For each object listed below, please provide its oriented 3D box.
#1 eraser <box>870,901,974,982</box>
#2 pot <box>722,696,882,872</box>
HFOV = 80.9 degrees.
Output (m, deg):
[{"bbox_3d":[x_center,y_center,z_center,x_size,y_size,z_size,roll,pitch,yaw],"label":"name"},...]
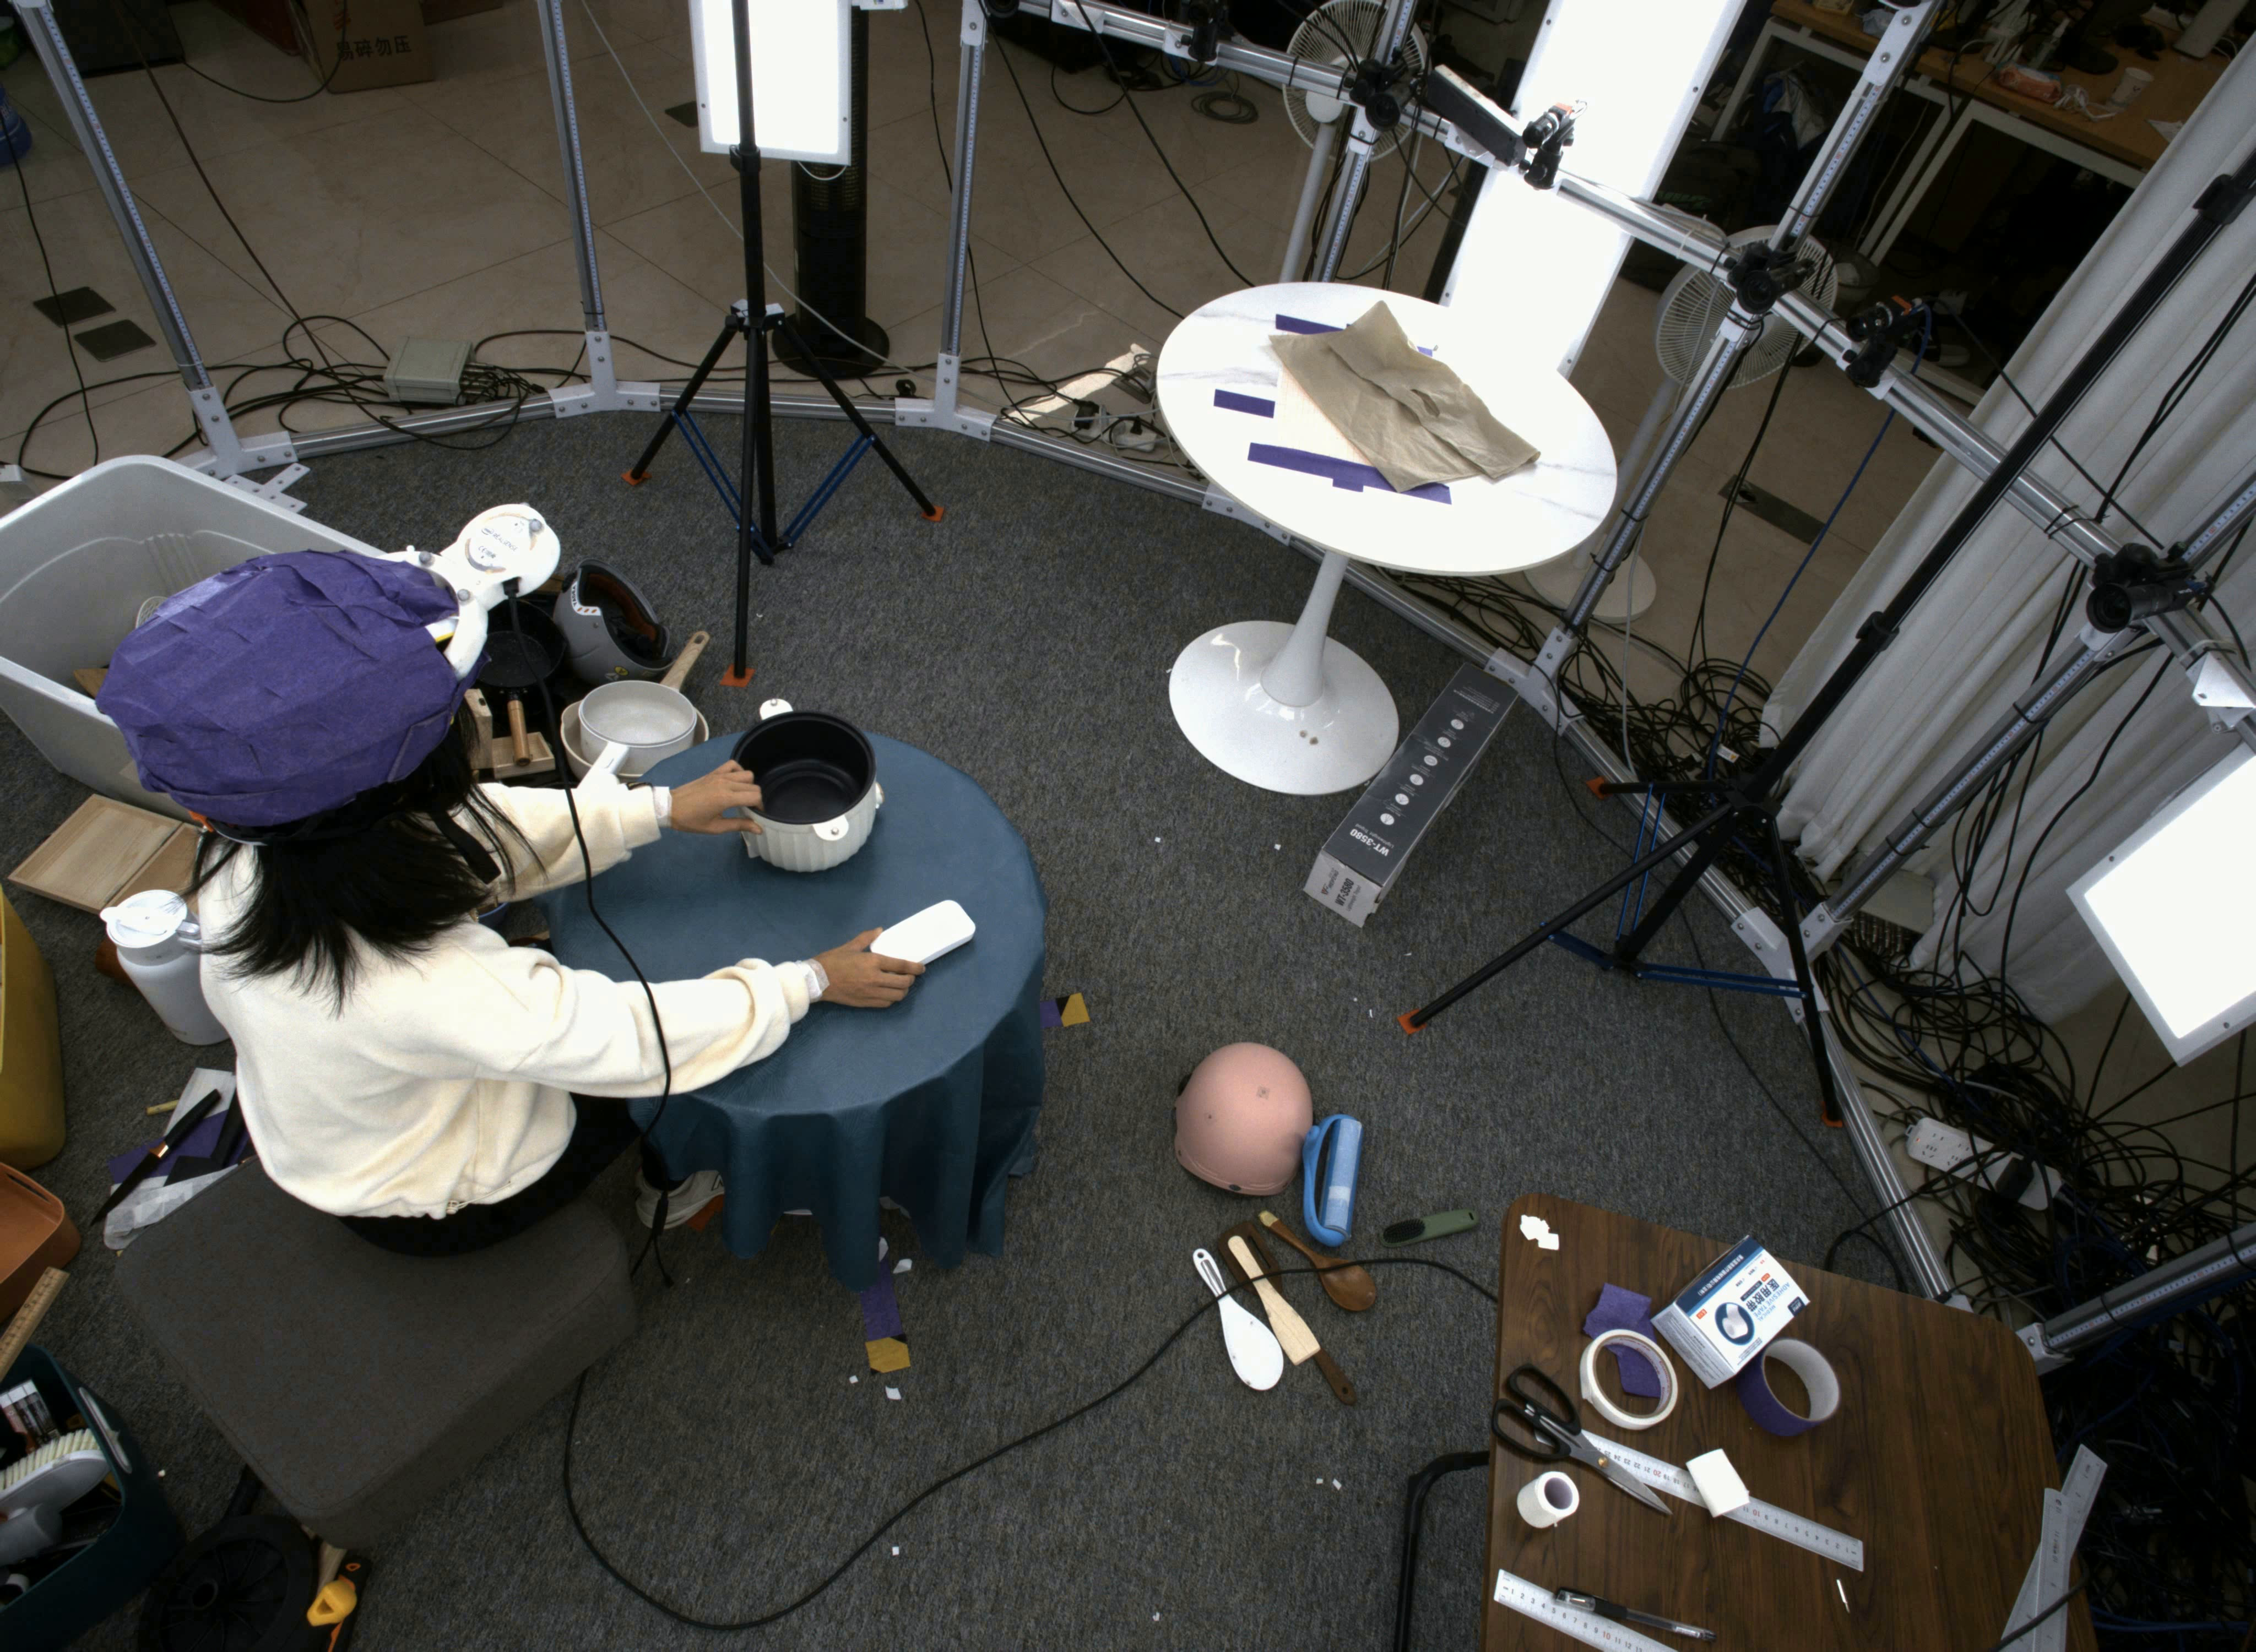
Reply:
[{"bbox_3d":[-0.259,0.141,1.638,0.132,0.035,0.062,-28,62,-31],"label":"eraser"},{"bbox_3d":[-0.412,-0.043,1.660,0.191,0.146,0.234,-23,63,-20],"label":"pot"}]
